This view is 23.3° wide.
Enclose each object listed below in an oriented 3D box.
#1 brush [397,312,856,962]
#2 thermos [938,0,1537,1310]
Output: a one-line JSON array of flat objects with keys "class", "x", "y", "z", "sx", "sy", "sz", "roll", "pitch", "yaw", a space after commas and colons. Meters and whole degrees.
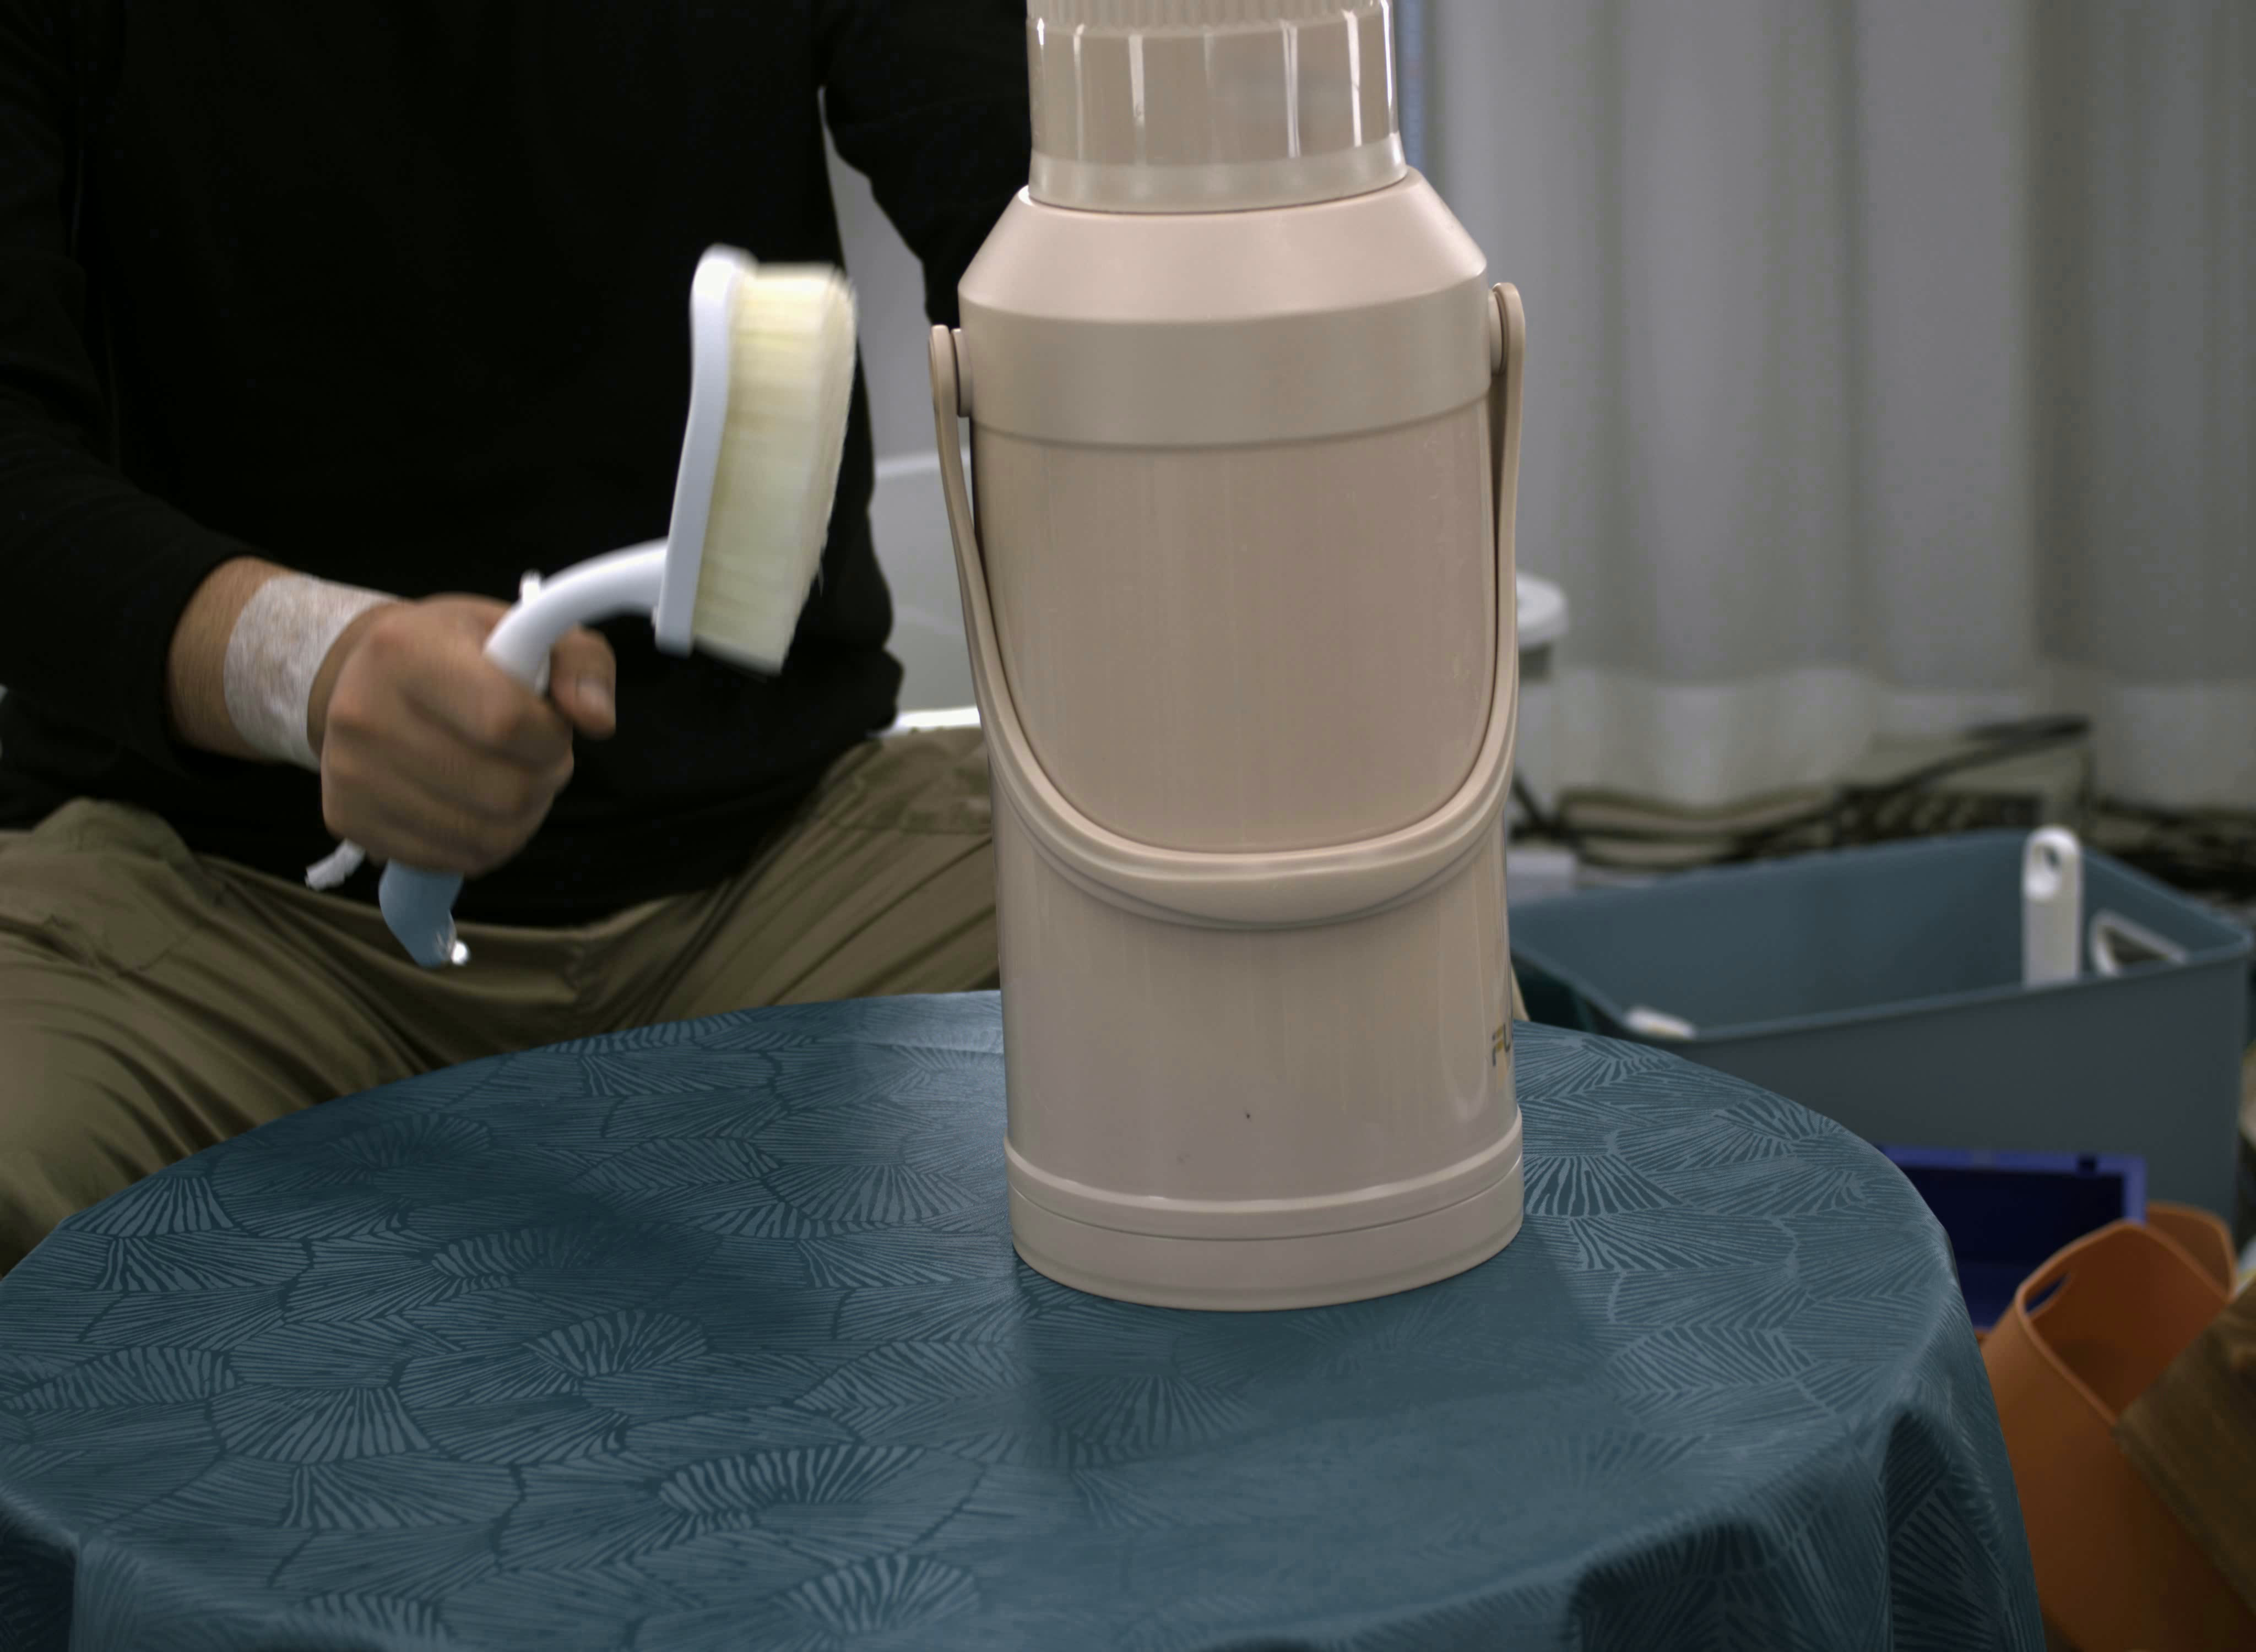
[{"class": "brush", "x": -0.139, "y": -0.042, "z": 1.673, "sx": 0.083, "sy": 0.322, "sz": 0.085, "roll": -22, "pitch": 67, "yaw": -35}, {"class": "thermos", "x": 0.035, "y": -0.073, "z": 1.647, "sx": 0.174, "sy": 0.405, "sz": 0.208, "roll": -6, "pitch": 14, "yaw": -7}]
